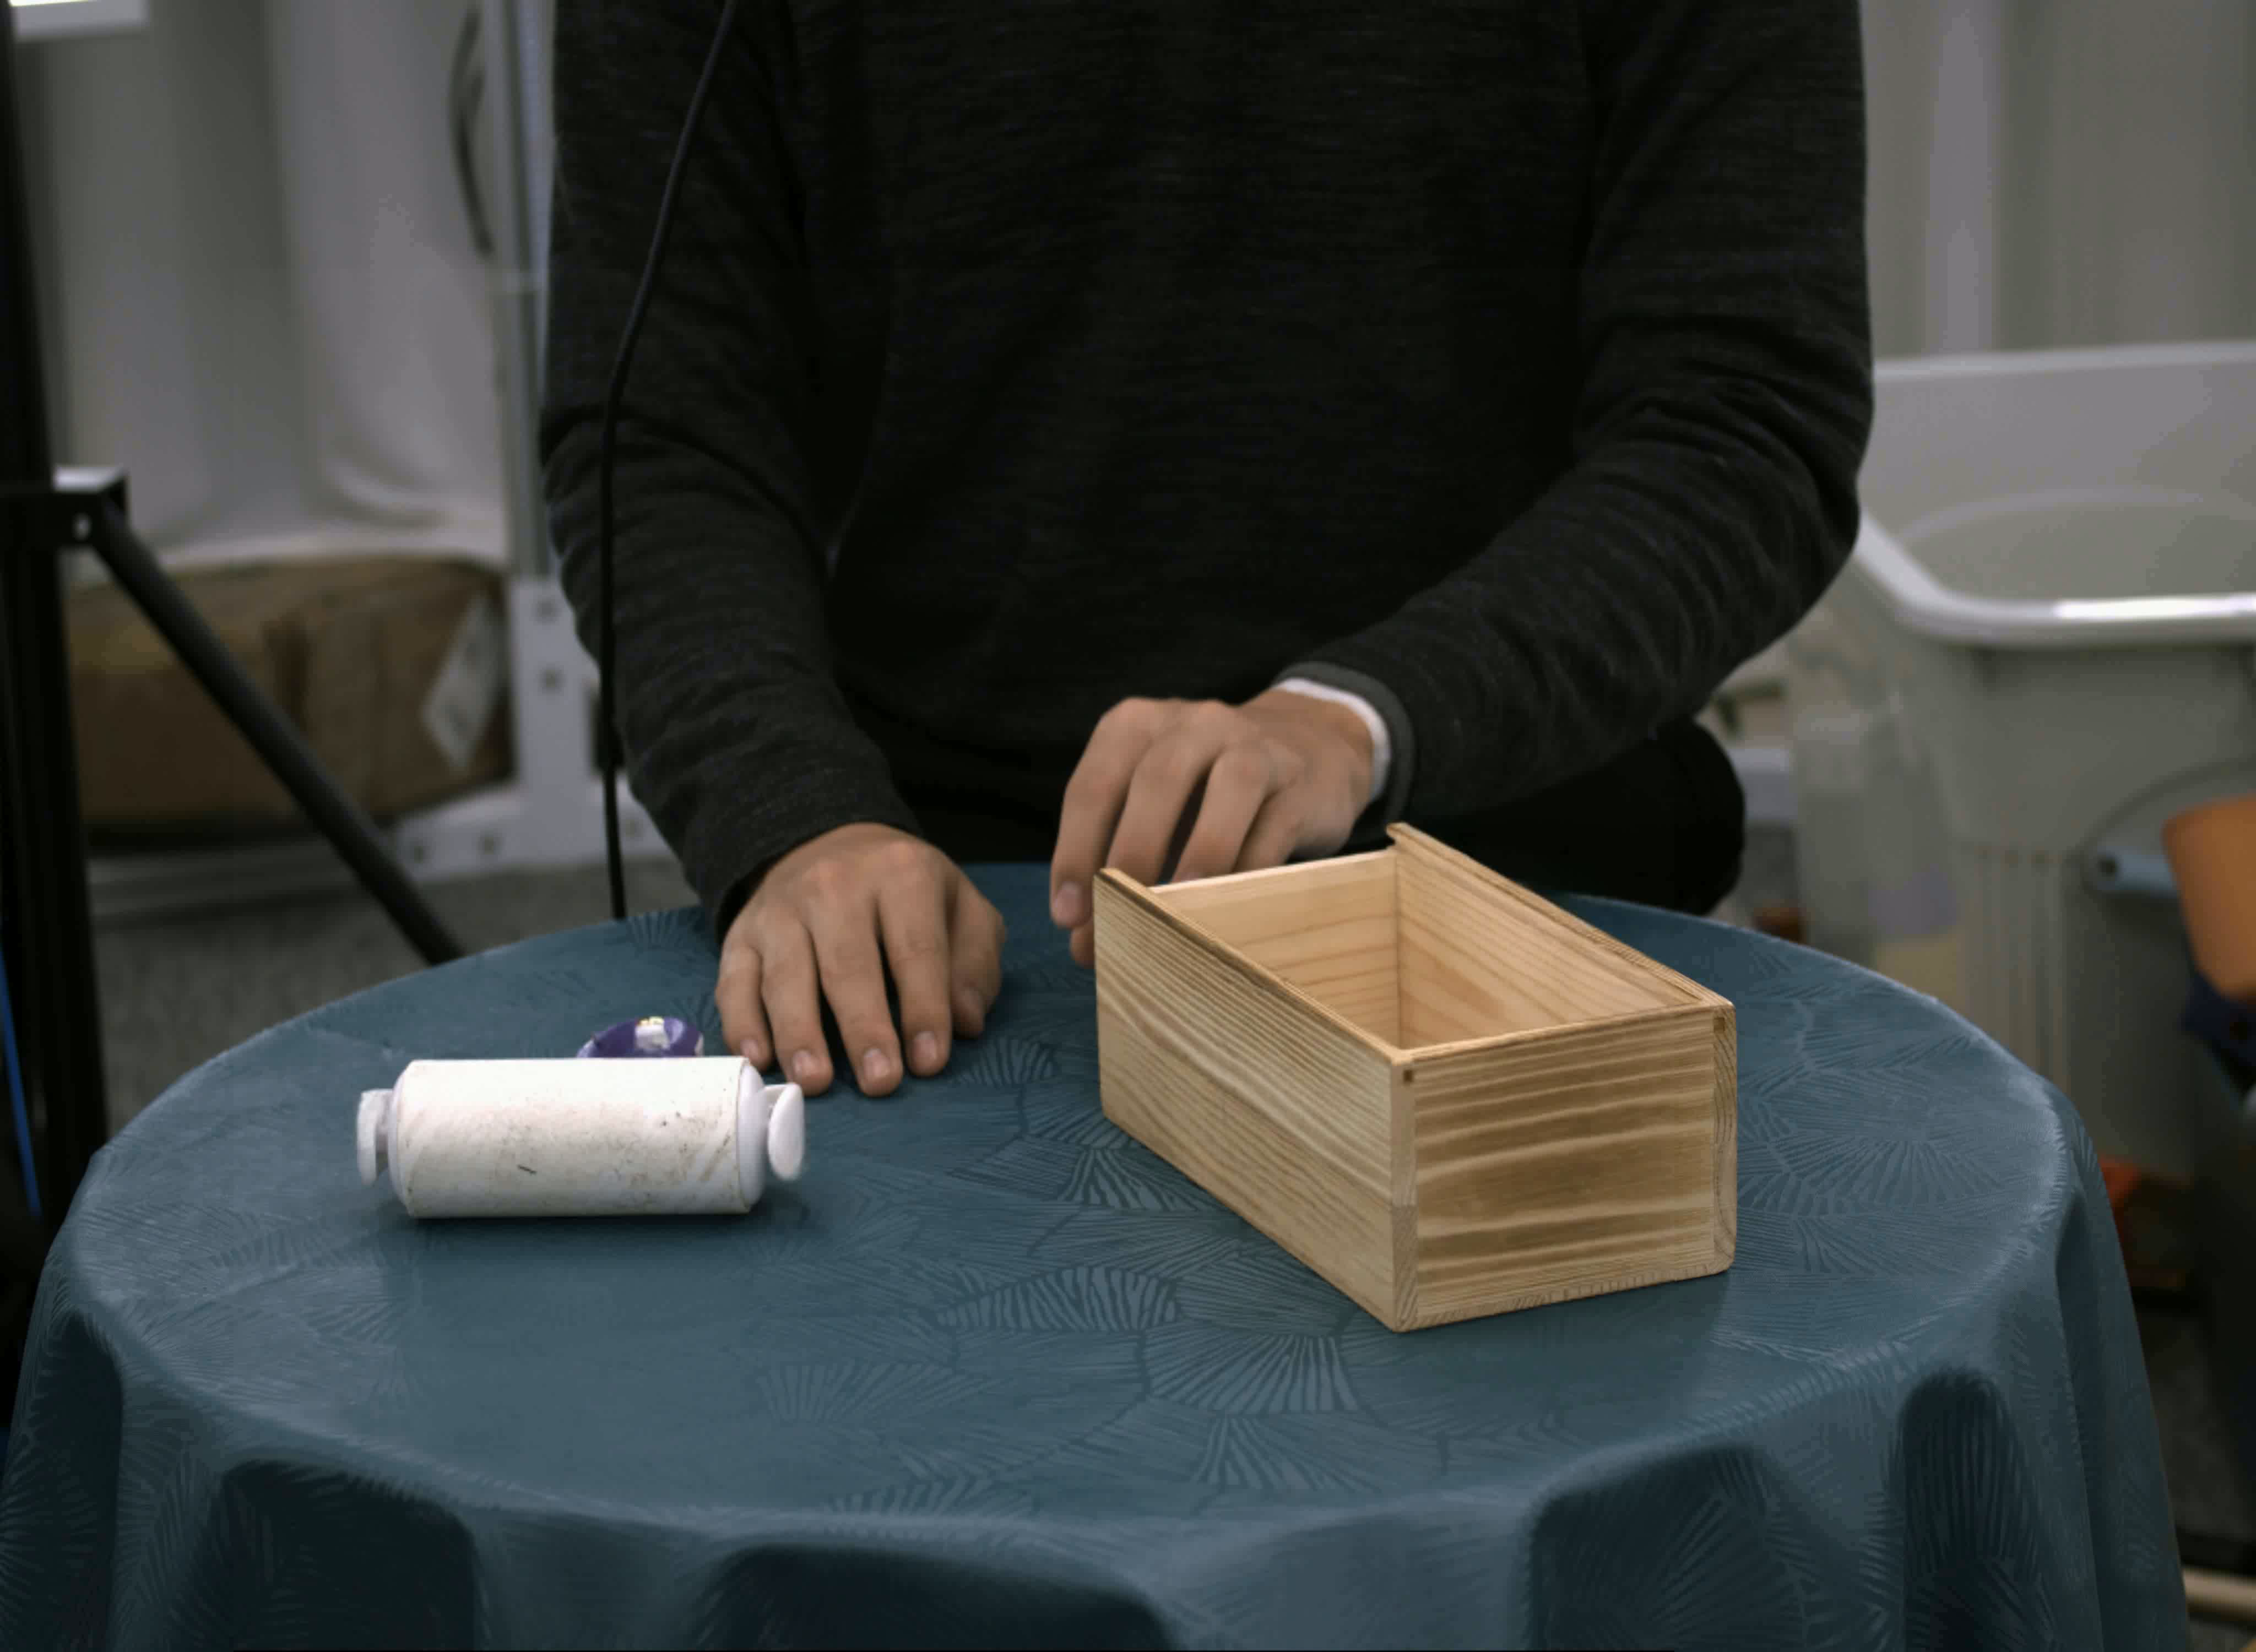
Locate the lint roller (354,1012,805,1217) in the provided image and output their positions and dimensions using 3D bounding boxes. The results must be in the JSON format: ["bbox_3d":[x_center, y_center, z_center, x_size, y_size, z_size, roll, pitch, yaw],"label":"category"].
[{"bbox_3d":[-0.155,0.072,1.622,0.133,0.050,0.181,-2,17,7],"label":"lint roller"}]

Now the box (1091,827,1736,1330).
[{"bbox_3d":[0.079,0.069,1.535,0.105,0.080,0.215,-9,16,-21],"label":"box"}]
